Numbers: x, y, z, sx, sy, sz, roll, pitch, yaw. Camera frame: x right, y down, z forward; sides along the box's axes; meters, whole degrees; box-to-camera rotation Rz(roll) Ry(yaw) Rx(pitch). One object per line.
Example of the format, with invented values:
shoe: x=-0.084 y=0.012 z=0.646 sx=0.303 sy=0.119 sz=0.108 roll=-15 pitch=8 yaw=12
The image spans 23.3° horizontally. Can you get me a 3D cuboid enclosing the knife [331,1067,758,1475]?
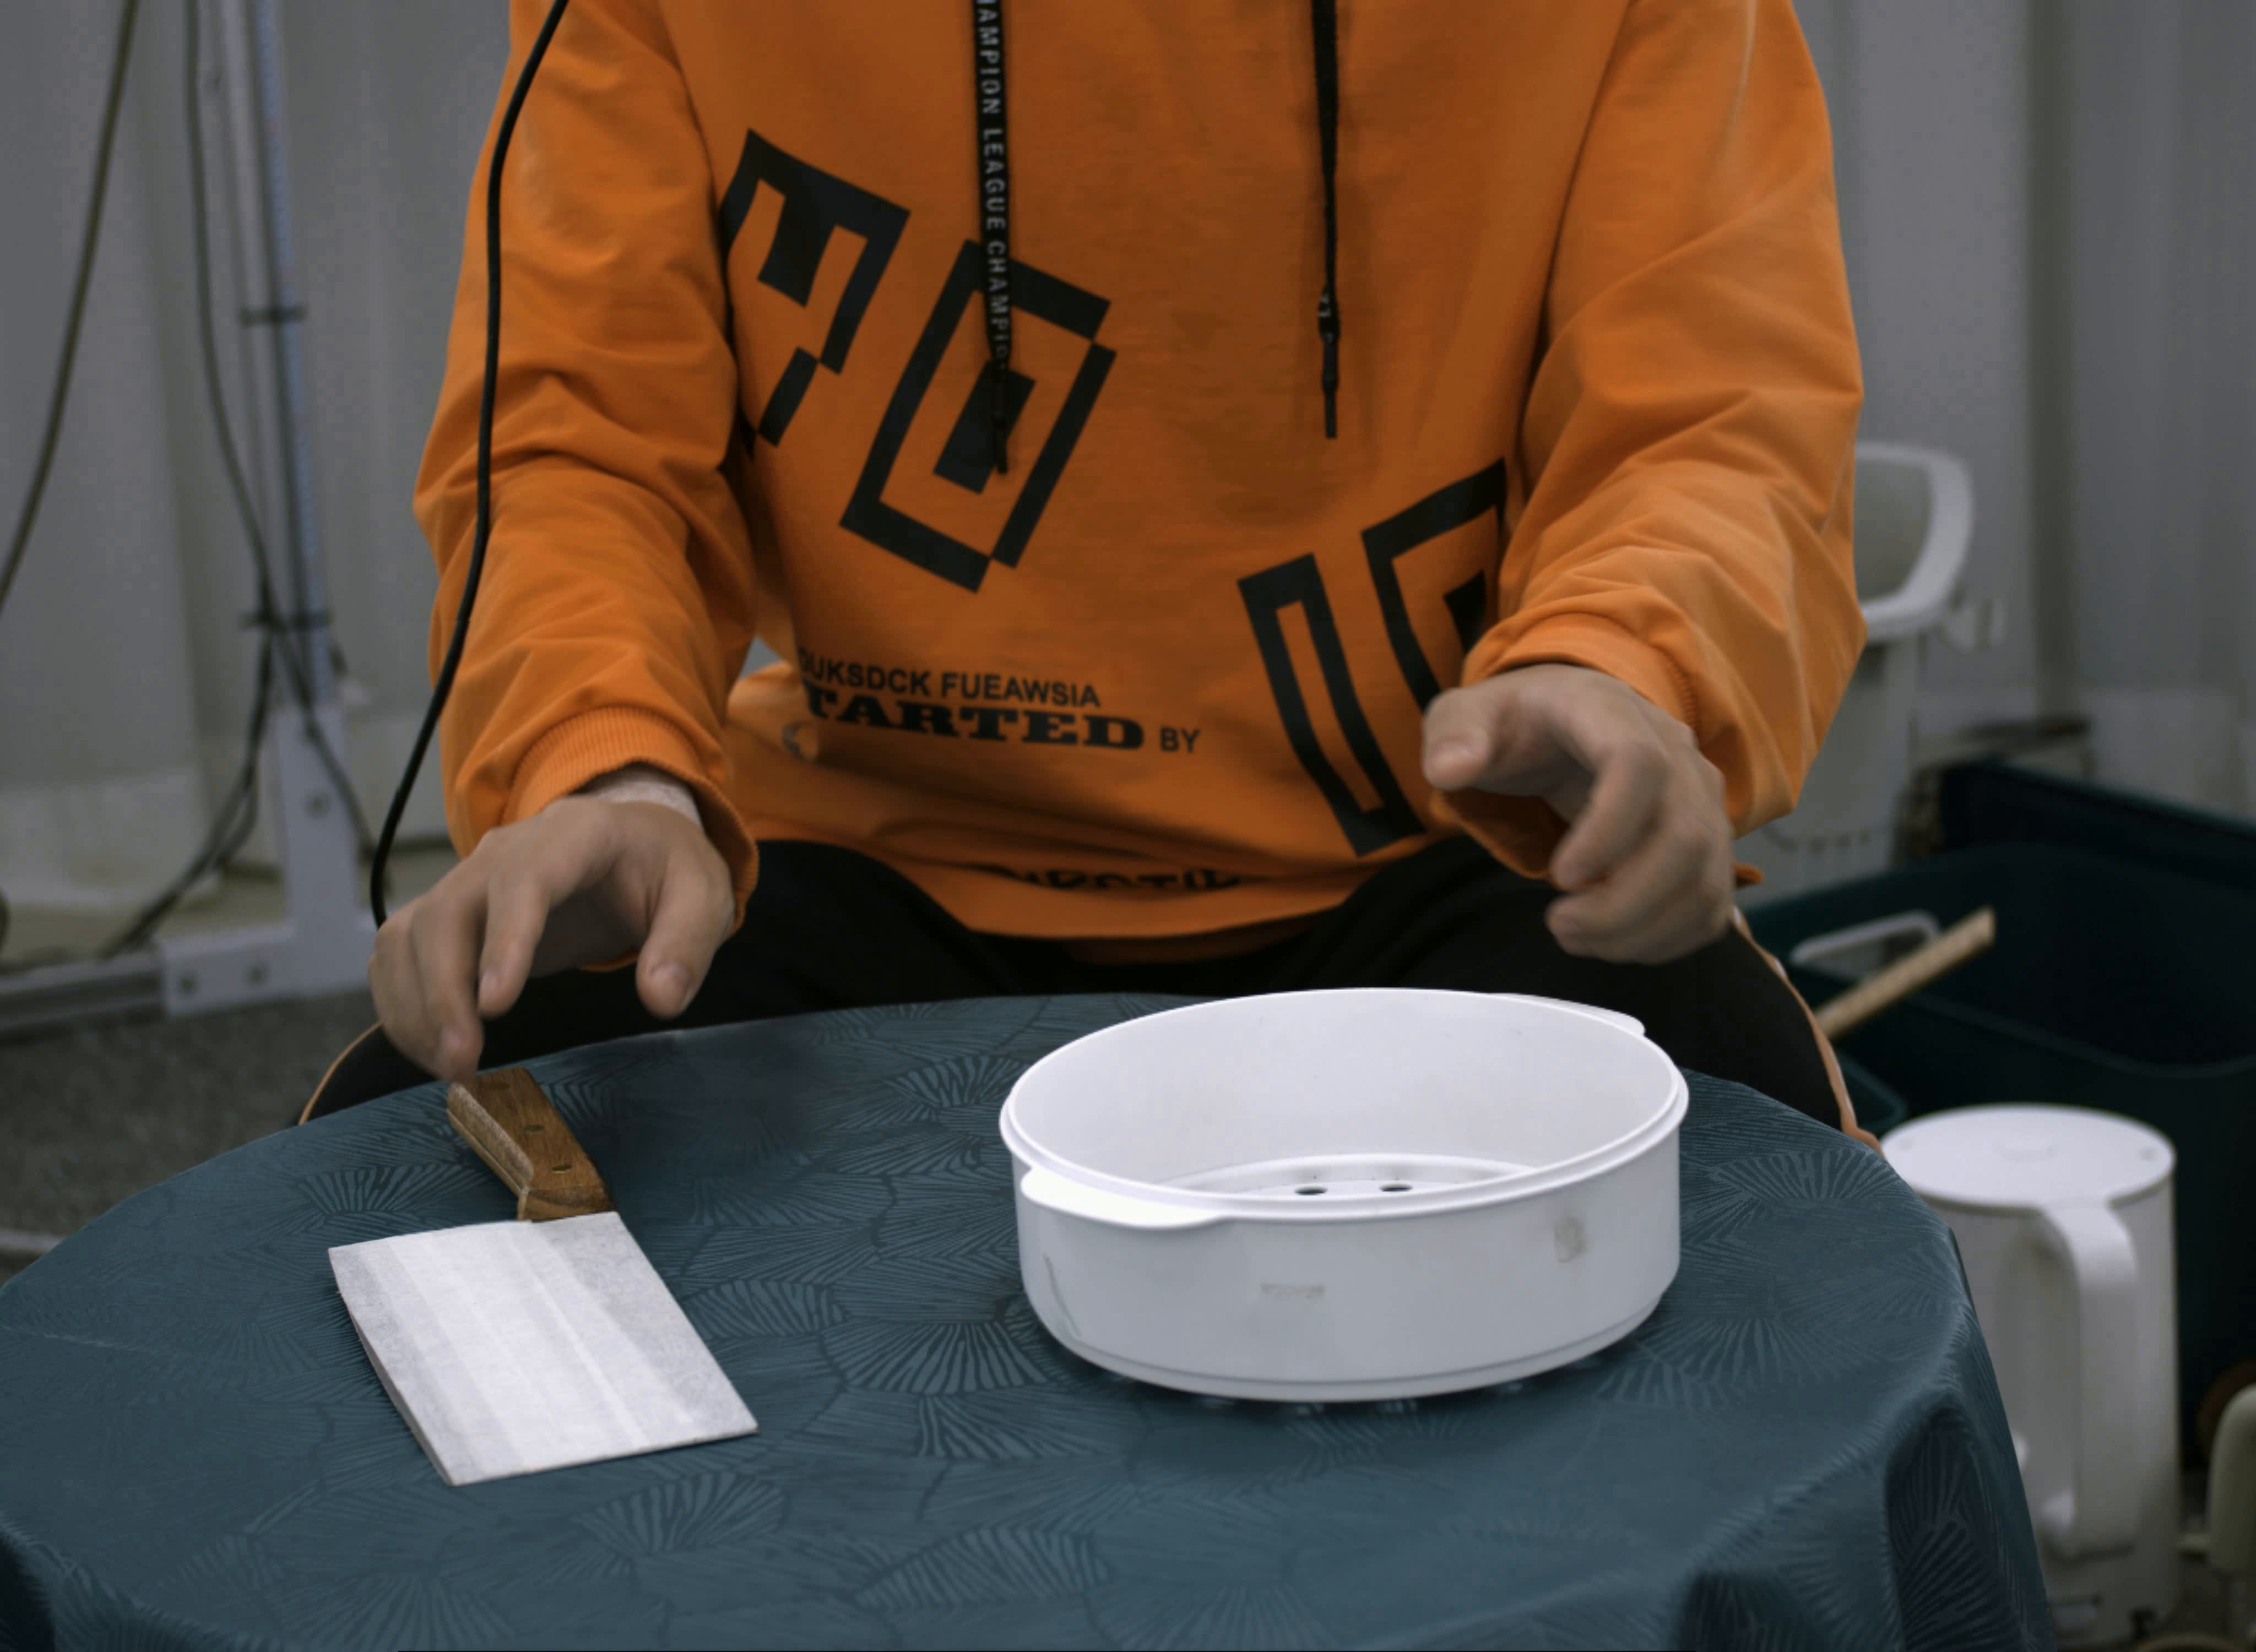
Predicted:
knife: x=-0.190 y=0.134 z=1.653 sx=0.092 sy=0.021 sz=0.308 roll=-9 pitch=18 yaw=-16

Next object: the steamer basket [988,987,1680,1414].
steamer basket: x=0.061 y=0.109 z=1.593 sx=0.203 sy=0.069 sz=0.230 roll=9 pitch=21 yaw=41
